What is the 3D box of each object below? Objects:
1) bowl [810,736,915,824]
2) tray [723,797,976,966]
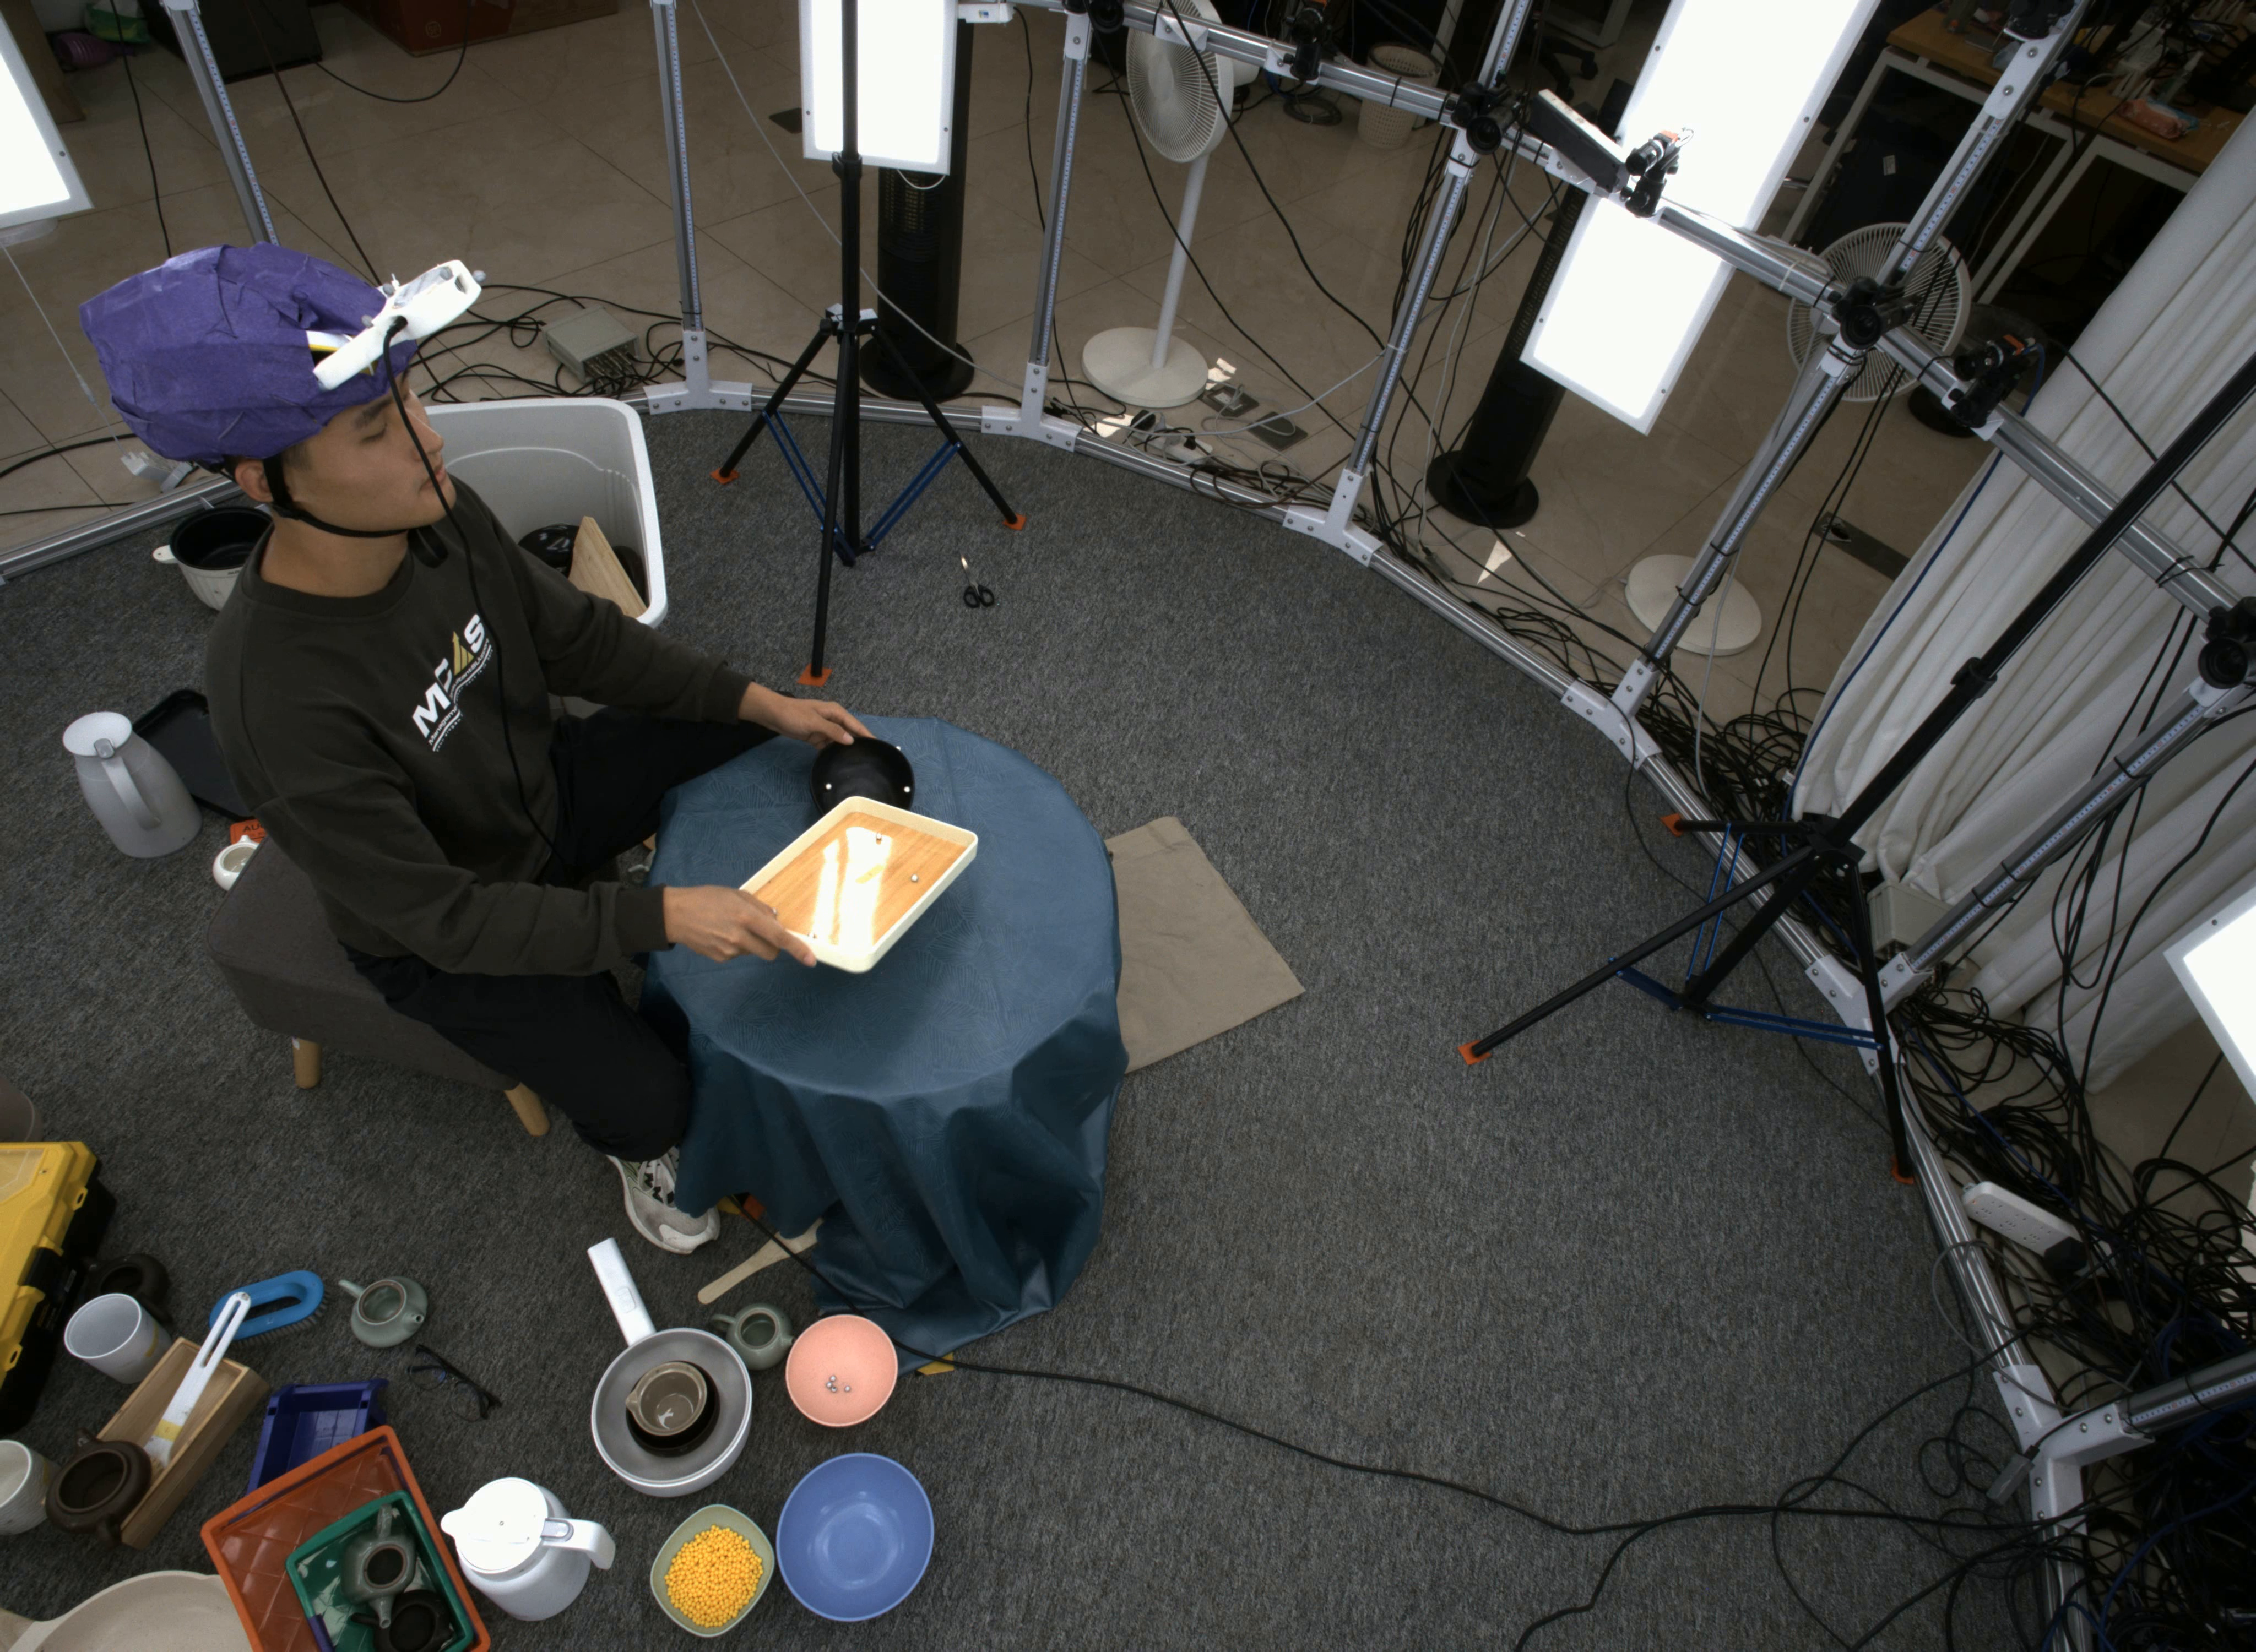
[{"bbox_3d":[-0.354,-0.038,1.740,0.137,0.068,0.167,-7,60,-17],"label":"bowl"},{"bbox_3d":[-0.327,0.058,1.564,0.187,0.028,0.299,17,31,13],"label":"tray"}]
